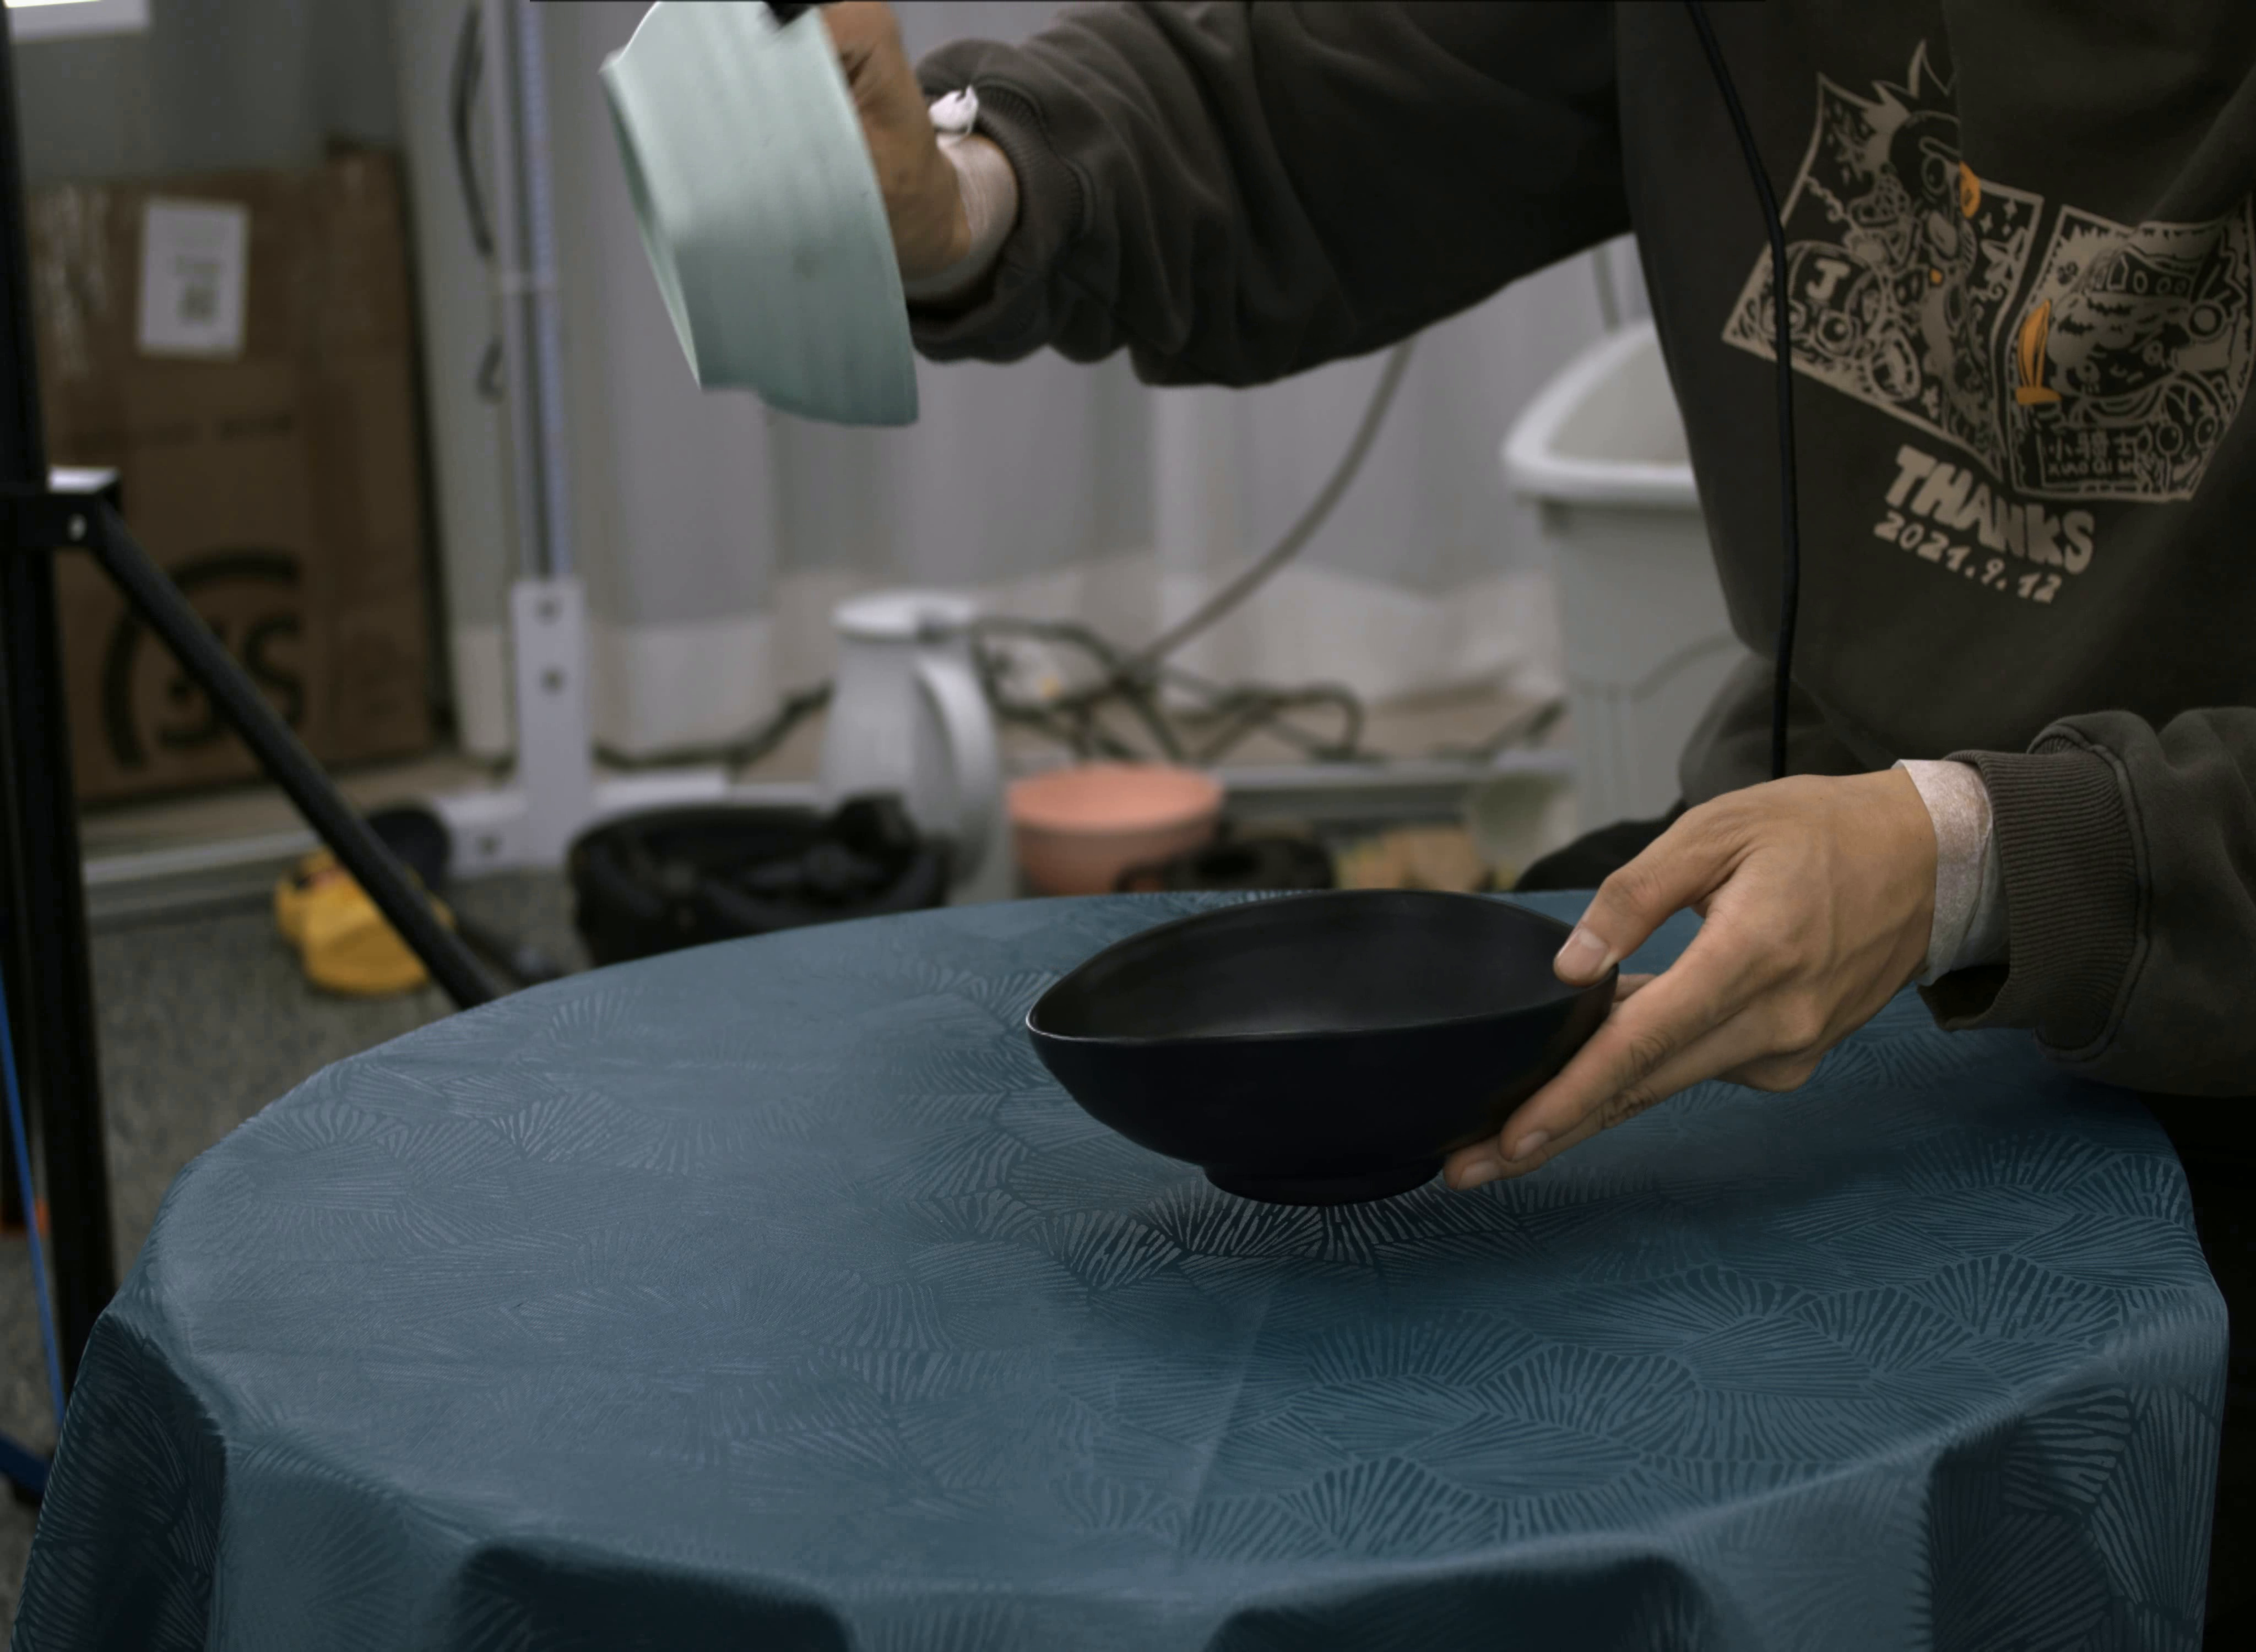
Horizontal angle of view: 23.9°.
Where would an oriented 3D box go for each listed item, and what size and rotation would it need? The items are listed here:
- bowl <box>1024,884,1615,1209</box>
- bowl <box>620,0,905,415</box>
[{"bbox_3d":[0.056,0.069,1.517,0.170,0.066,0.138,-4,15,2],"label":"bowl"},{"bbox_3d":[-0.107,-0.187,1.527,0.058,0.151,0.153,-12,17,-6],"label":"bowl"}]
